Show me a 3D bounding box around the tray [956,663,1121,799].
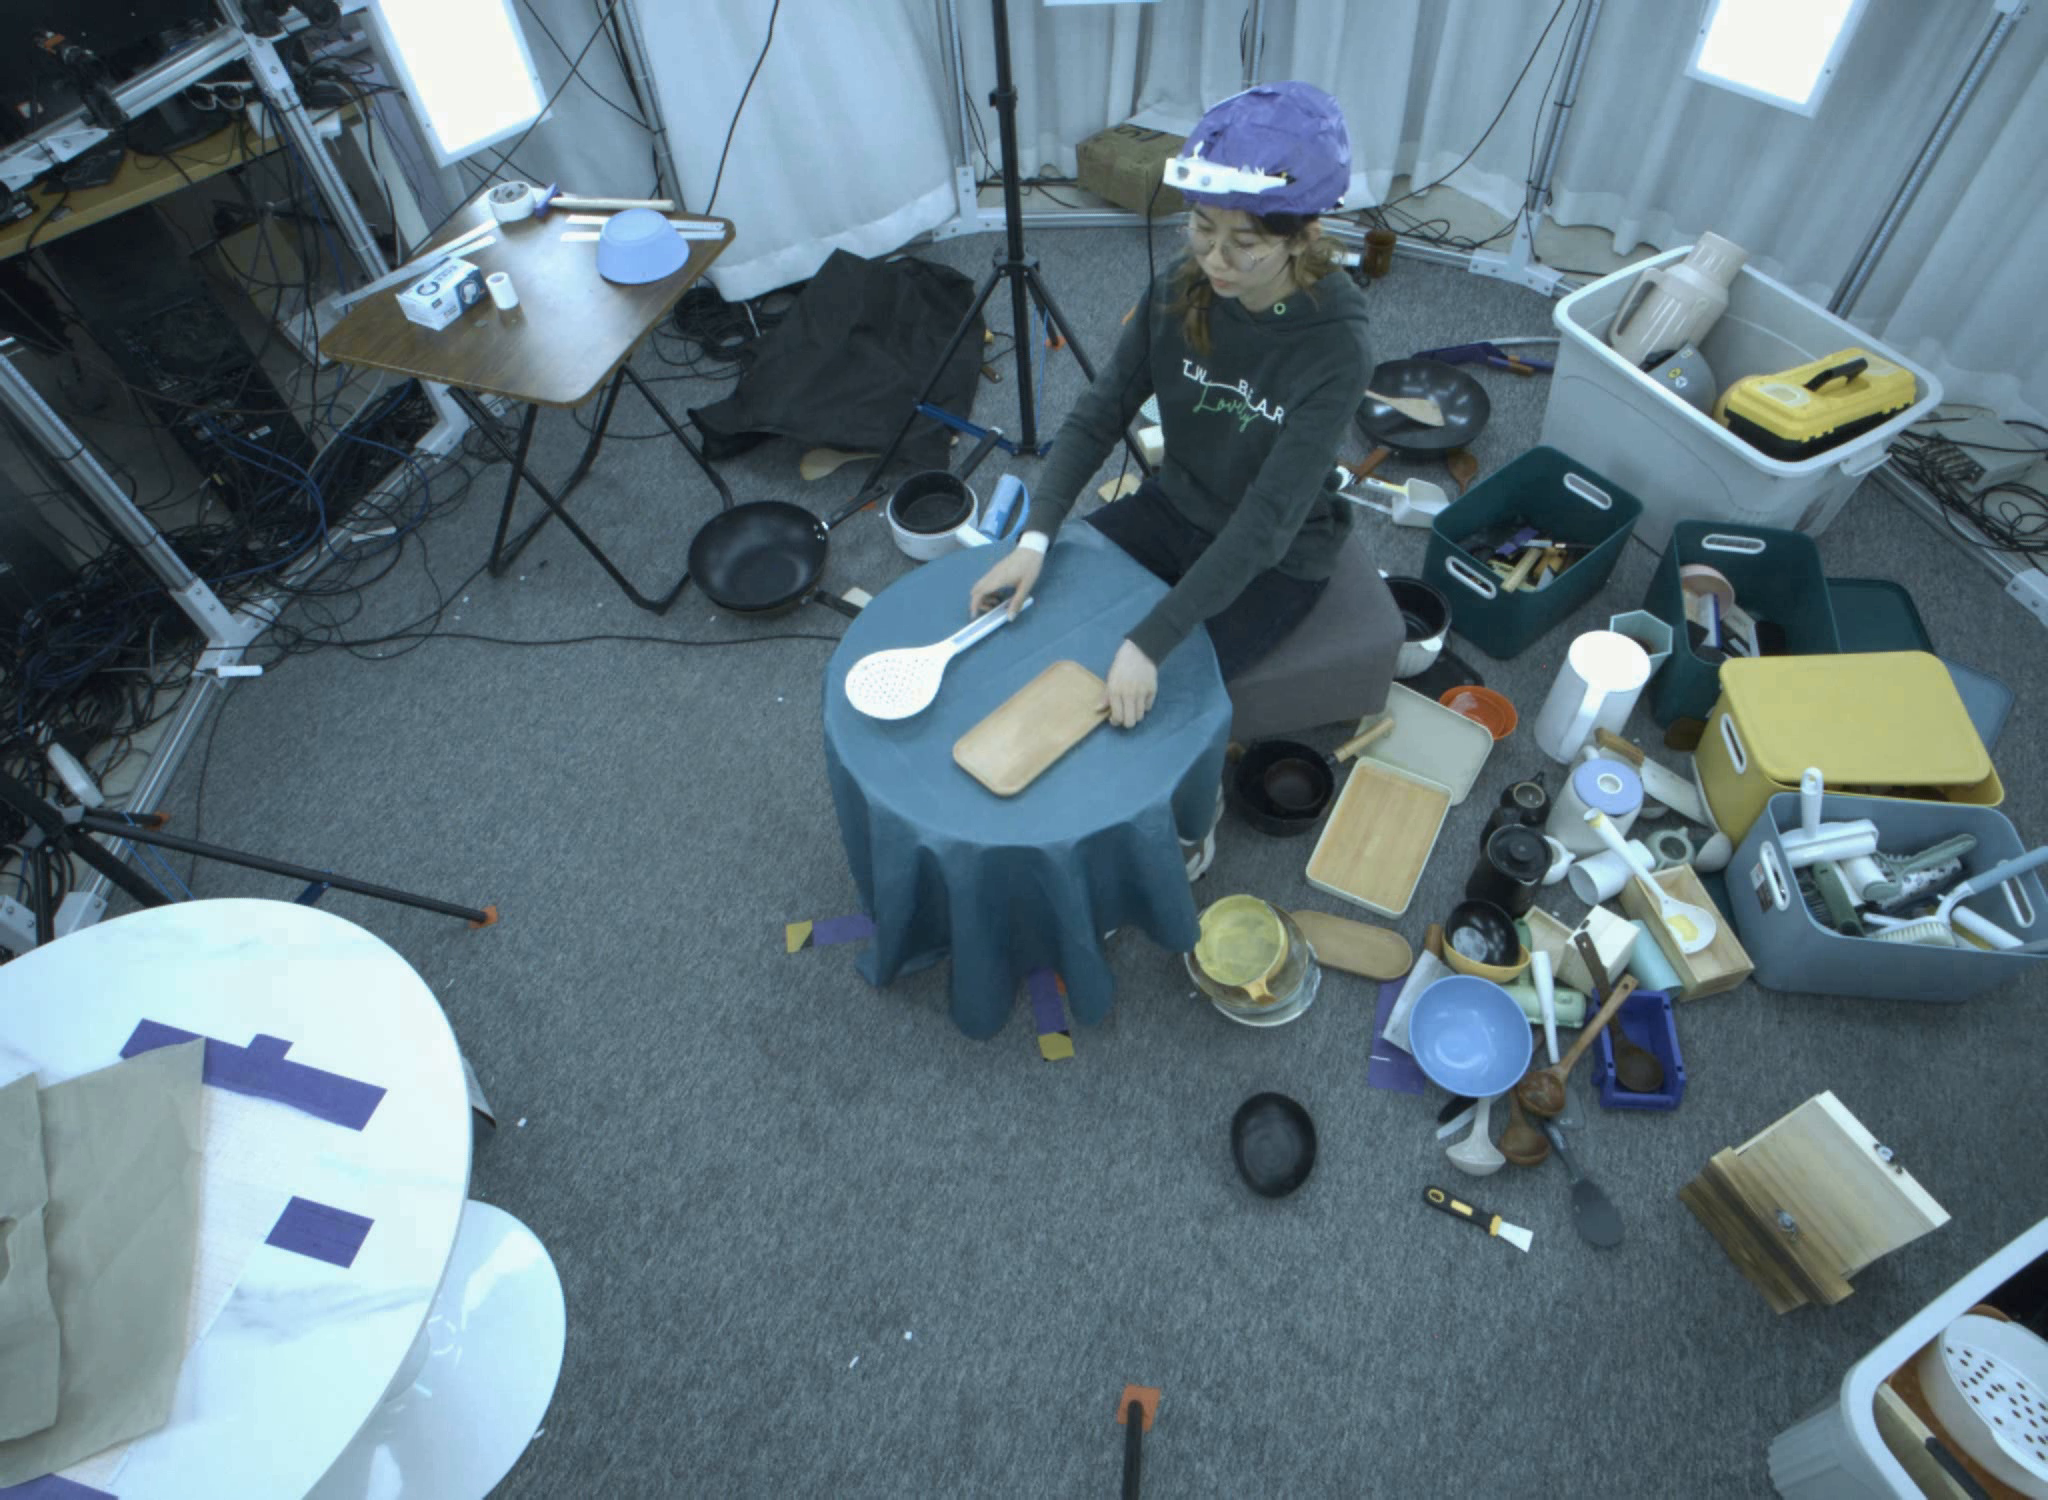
[{"bbox_3d":[0.022,-0.030,1.808,0.128,0.023,0.252,40,64,23],"label":"tray"}]

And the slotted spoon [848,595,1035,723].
[{"bbox_3d":[-0.117,-0.147,1.877,0.352,0.046,0.134,-39,65,-24],"label":"slotted spoon"}]
